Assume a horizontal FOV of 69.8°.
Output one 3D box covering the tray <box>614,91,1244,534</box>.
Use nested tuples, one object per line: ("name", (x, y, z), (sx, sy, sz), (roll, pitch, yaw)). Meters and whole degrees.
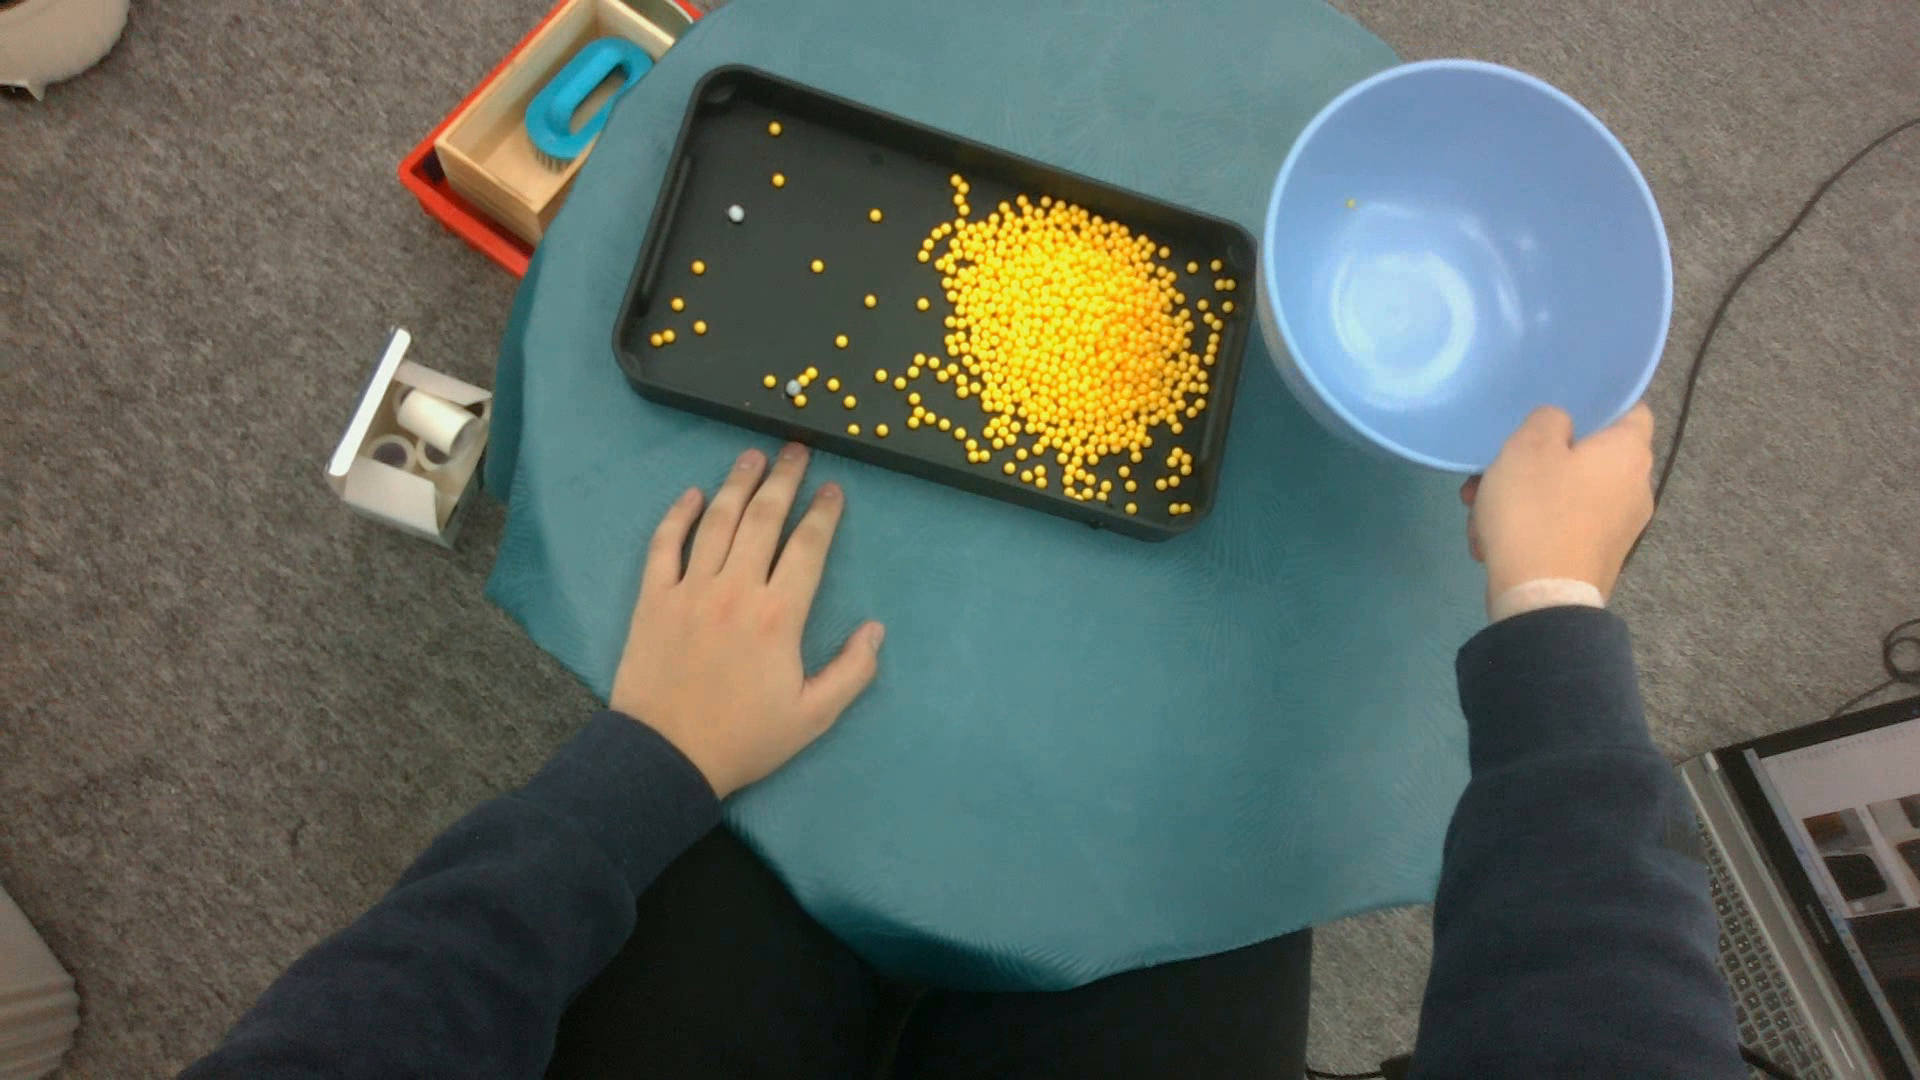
("tray", (-0.010, -0.120, 0.746), (0.318, 0.037, 0.185), (13, 75, -7))

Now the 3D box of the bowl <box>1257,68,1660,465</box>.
("bowl", (0.234, -0.124, 0.694), (0.196, 0.095, 0.197), (1, 80, -7))
